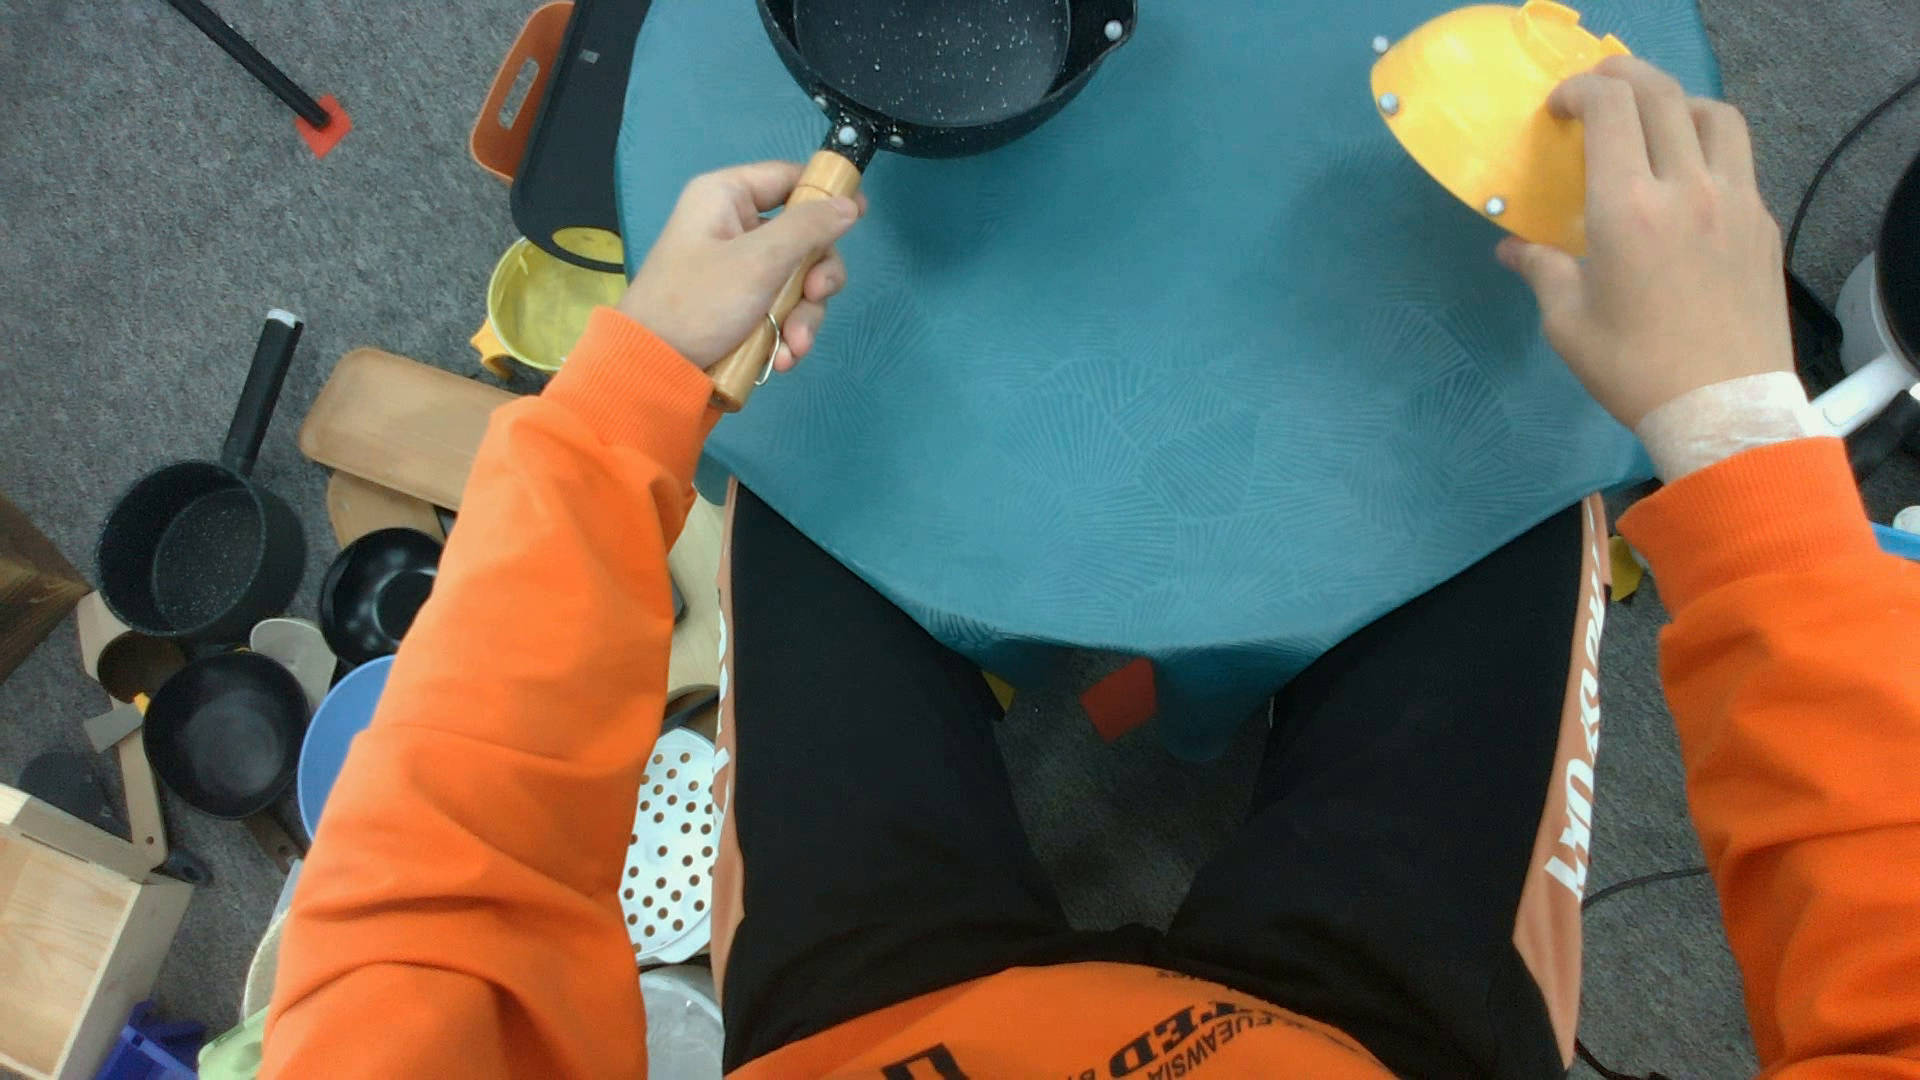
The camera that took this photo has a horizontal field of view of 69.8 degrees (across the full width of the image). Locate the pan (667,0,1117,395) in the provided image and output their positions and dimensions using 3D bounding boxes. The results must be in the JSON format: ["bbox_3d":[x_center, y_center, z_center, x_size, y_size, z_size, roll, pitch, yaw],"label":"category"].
[{"bbox_3d":[-0.051,-0.214,0.667,0.207,0.108,0.343,24,81,-4],"label":"pan"}]

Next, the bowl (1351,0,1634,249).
[{"bbox_3d":[0.257,-0.206,0.631,0.145,0.060,0.146,15,48,-17],"label":"bowl"}]
